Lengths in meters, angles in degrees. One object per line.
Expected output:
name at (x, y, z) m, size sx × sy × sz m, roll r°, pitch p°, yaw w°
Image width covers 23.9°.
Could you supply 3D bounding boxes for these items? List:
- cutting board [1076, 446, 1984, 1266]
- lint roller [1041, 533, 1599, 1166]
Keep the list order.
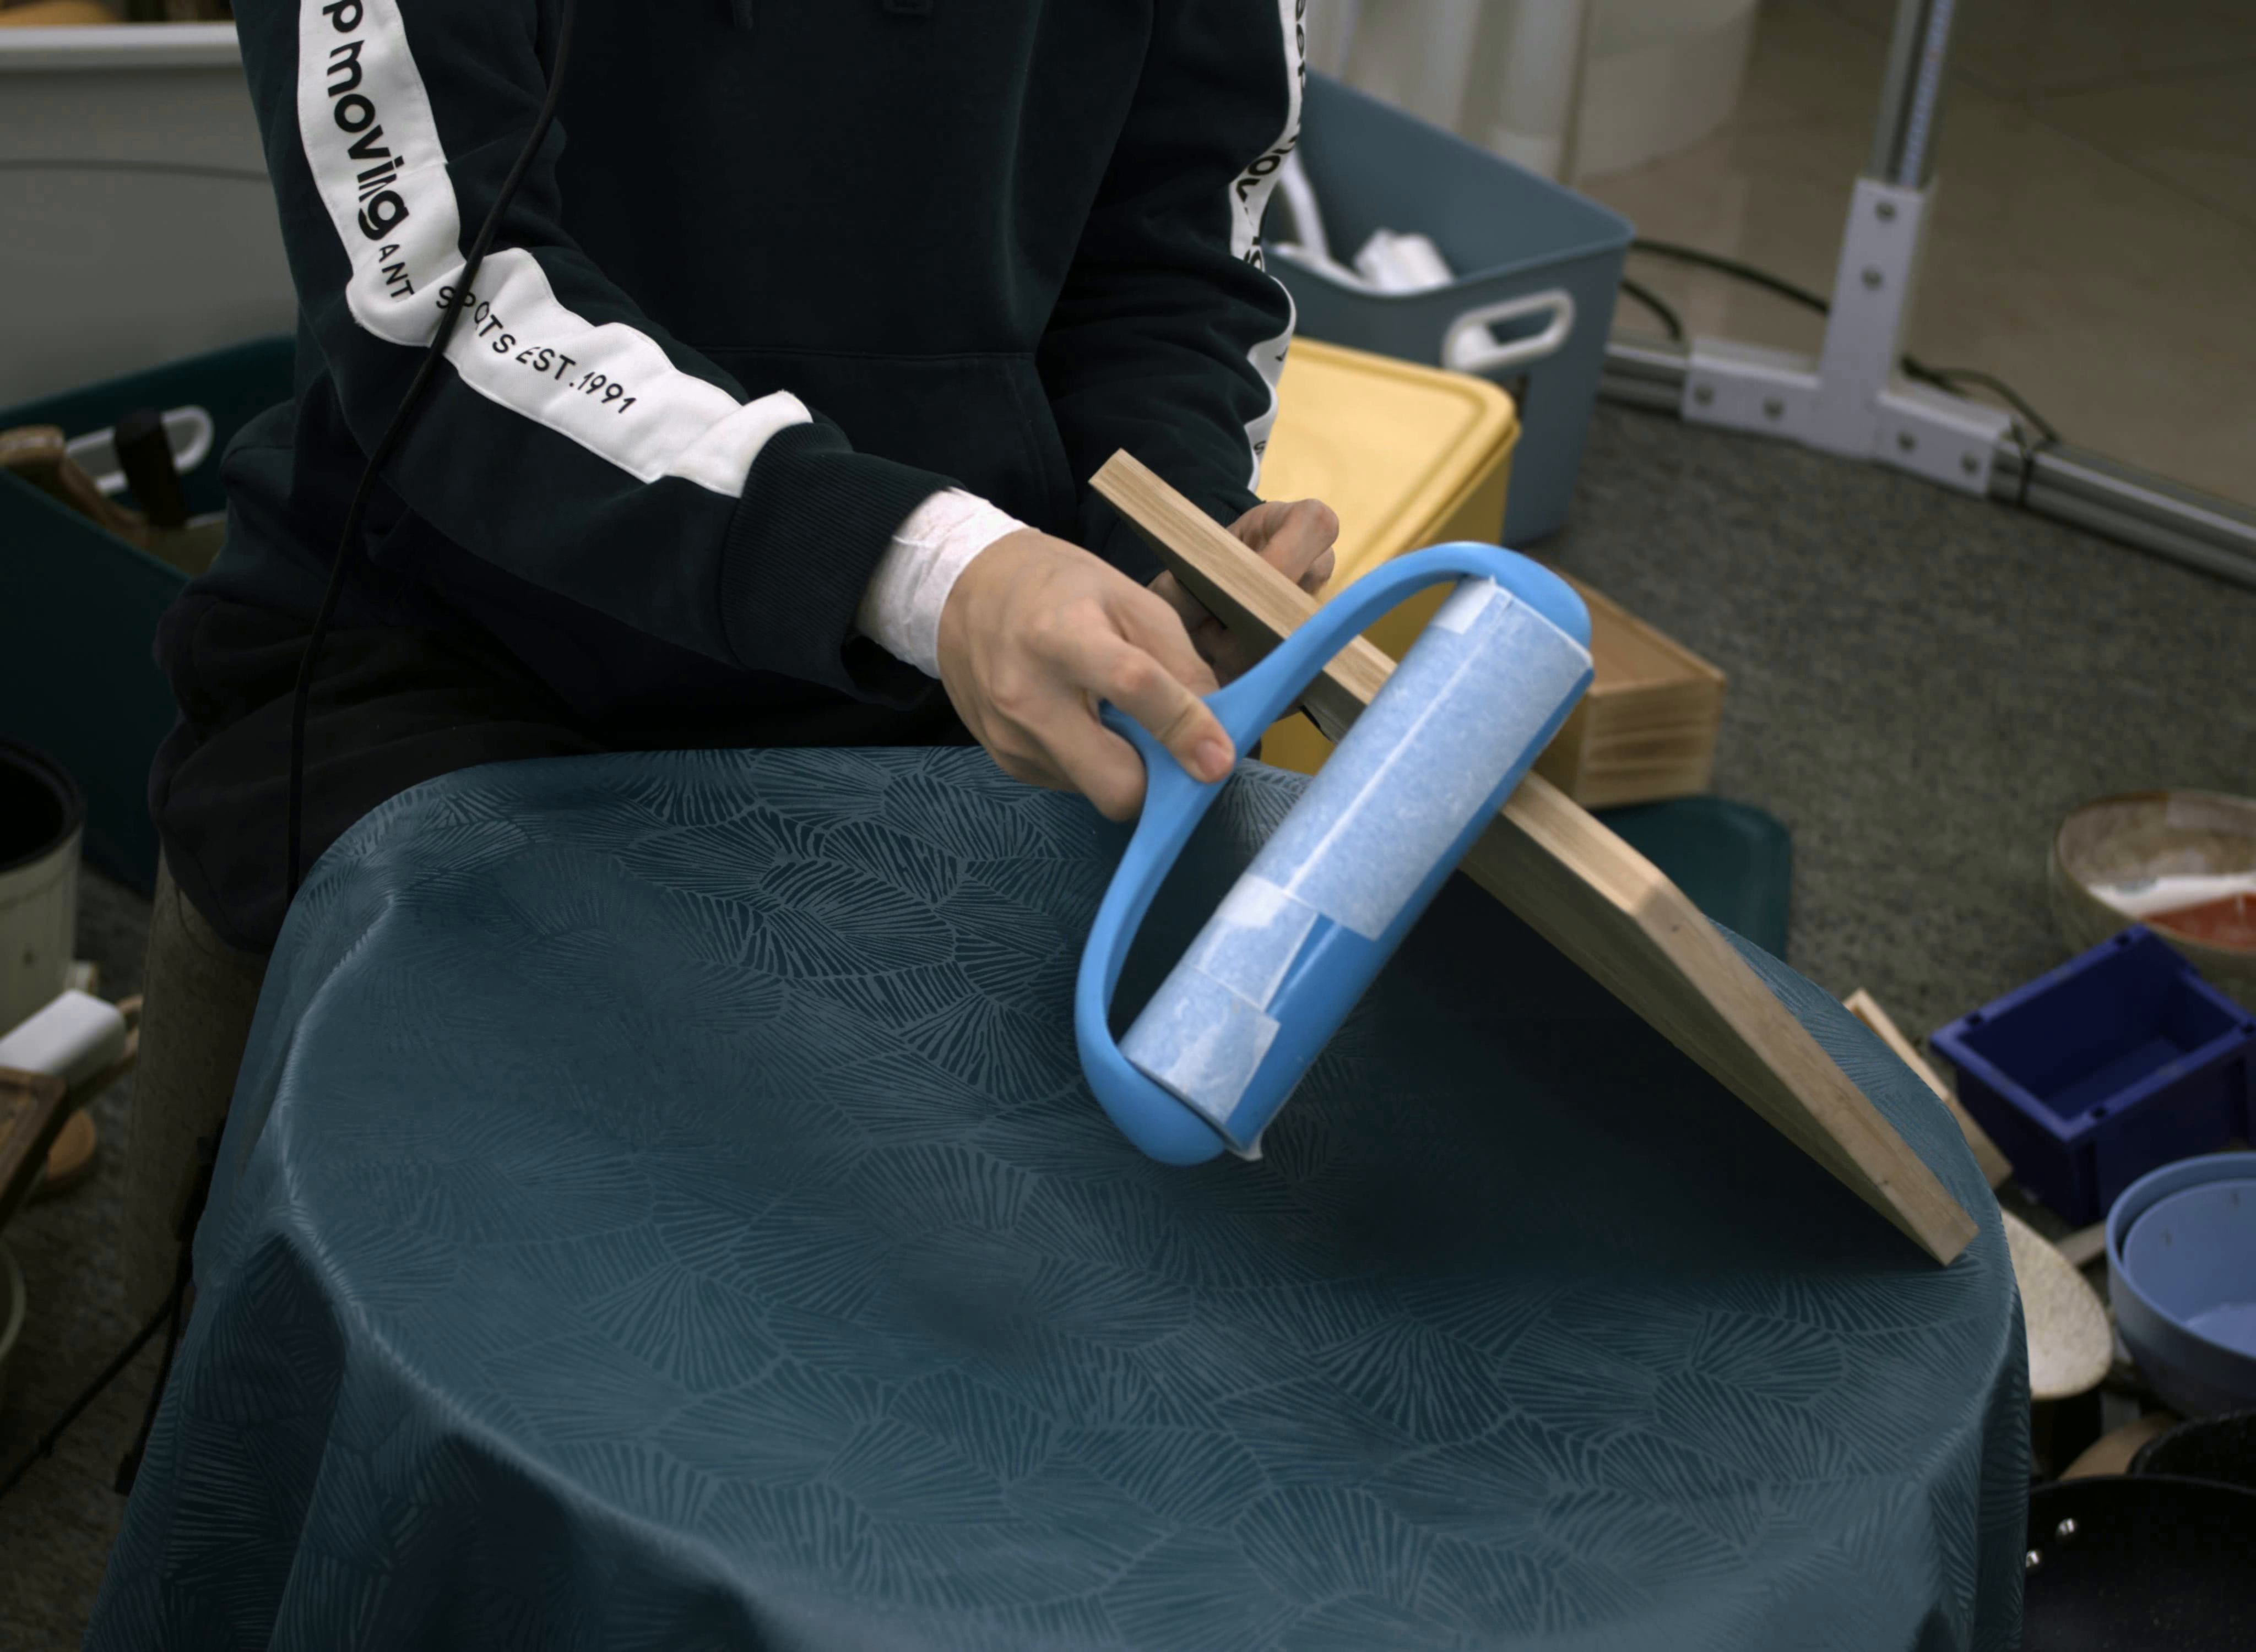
cutting board at (0.135, 0.007, 1.859) m, size 0.023 × 0.248 × 0.352 m, roll -47°, pitch 43°, yaw -2°
lint roller at (0.029, -0.014, 1.721) m, size 0.181 × 0.229 × 0.067 m, roll 28°, pitch -10°, yaw 33°
